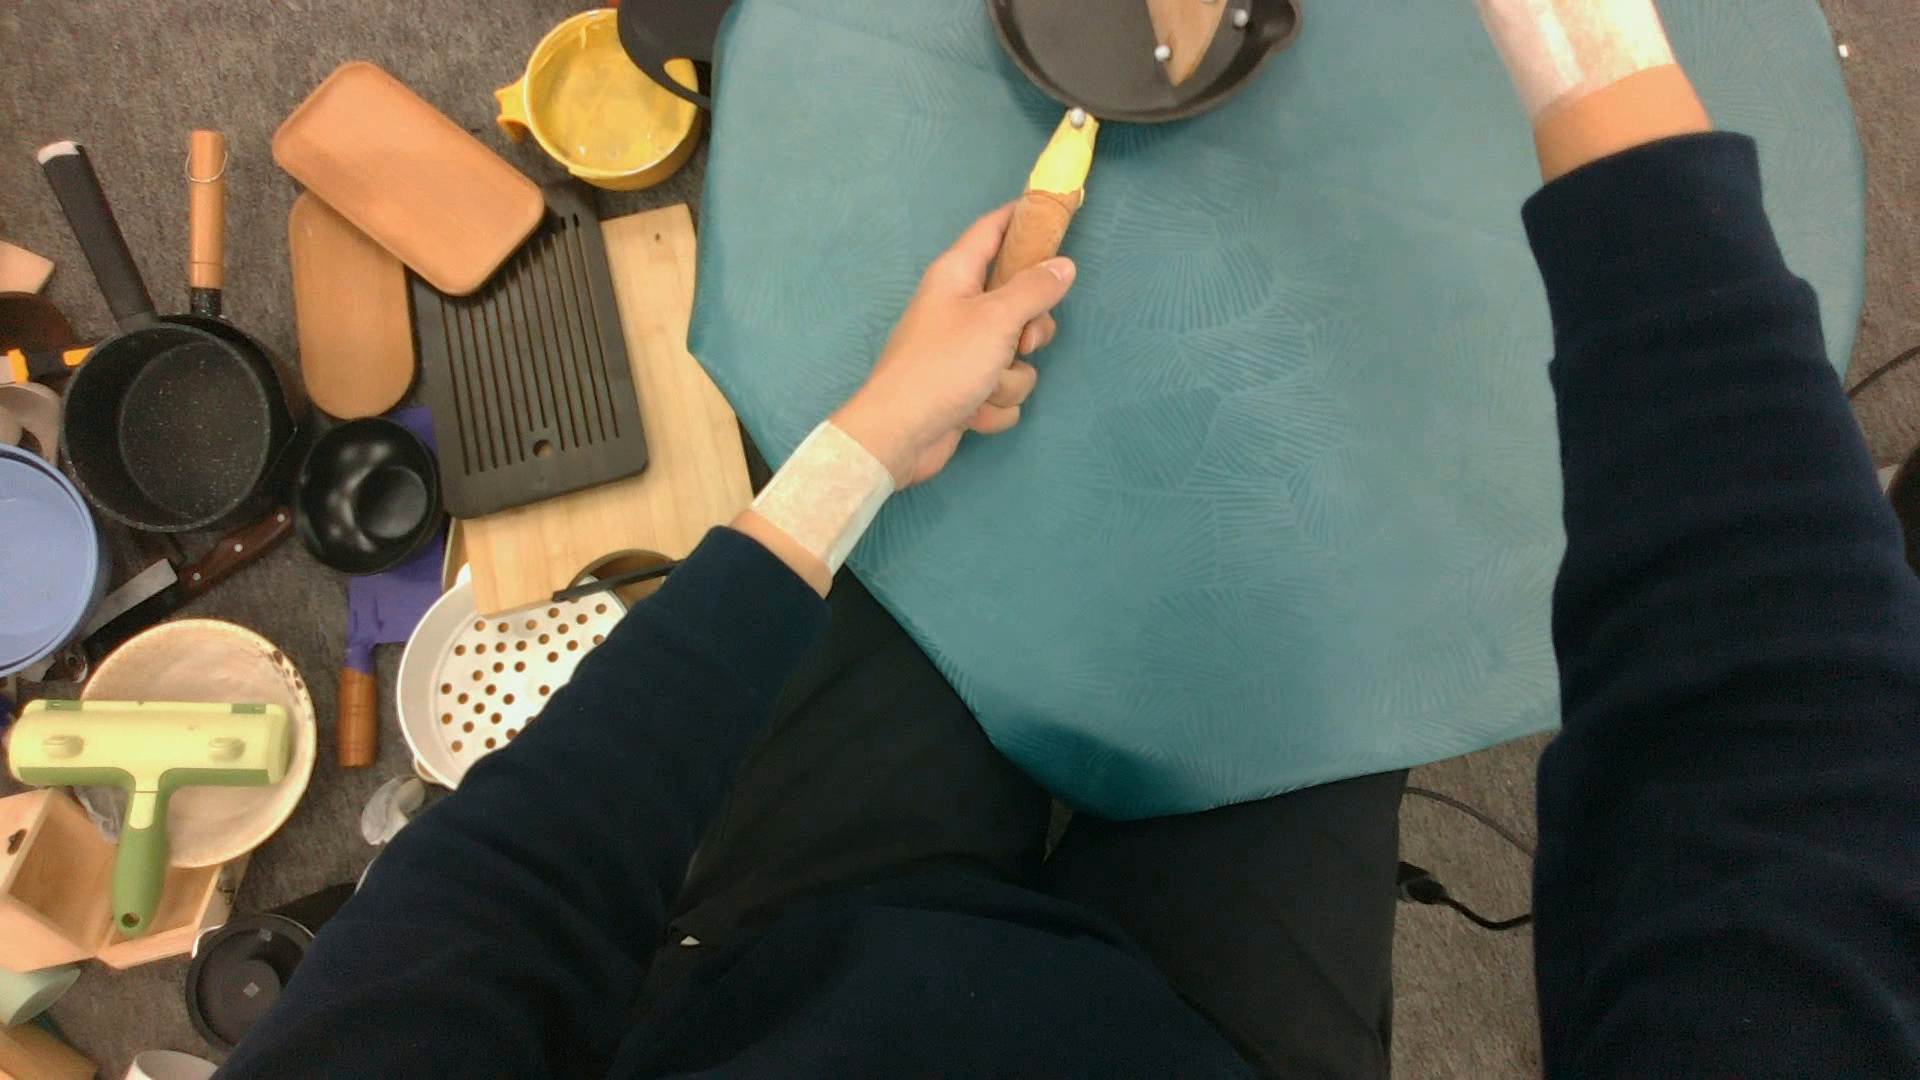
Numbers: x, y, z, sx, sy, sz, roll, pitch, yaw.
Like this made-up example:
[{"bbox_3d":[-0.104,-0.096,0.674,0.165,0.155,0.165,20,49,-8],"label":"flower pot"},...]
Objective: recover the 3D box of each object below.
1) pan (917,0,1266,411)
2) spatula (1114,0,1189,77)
[{"bbox_3d":[0.042,-0.212,0.681,0.169,0.049,0.324,21,82,1],"label":"pan"},{"bbox_3d":[0.097,-0.274,0.553,0.016,0.327,0.080,-14,90,-3],"label":"spatula"}]
